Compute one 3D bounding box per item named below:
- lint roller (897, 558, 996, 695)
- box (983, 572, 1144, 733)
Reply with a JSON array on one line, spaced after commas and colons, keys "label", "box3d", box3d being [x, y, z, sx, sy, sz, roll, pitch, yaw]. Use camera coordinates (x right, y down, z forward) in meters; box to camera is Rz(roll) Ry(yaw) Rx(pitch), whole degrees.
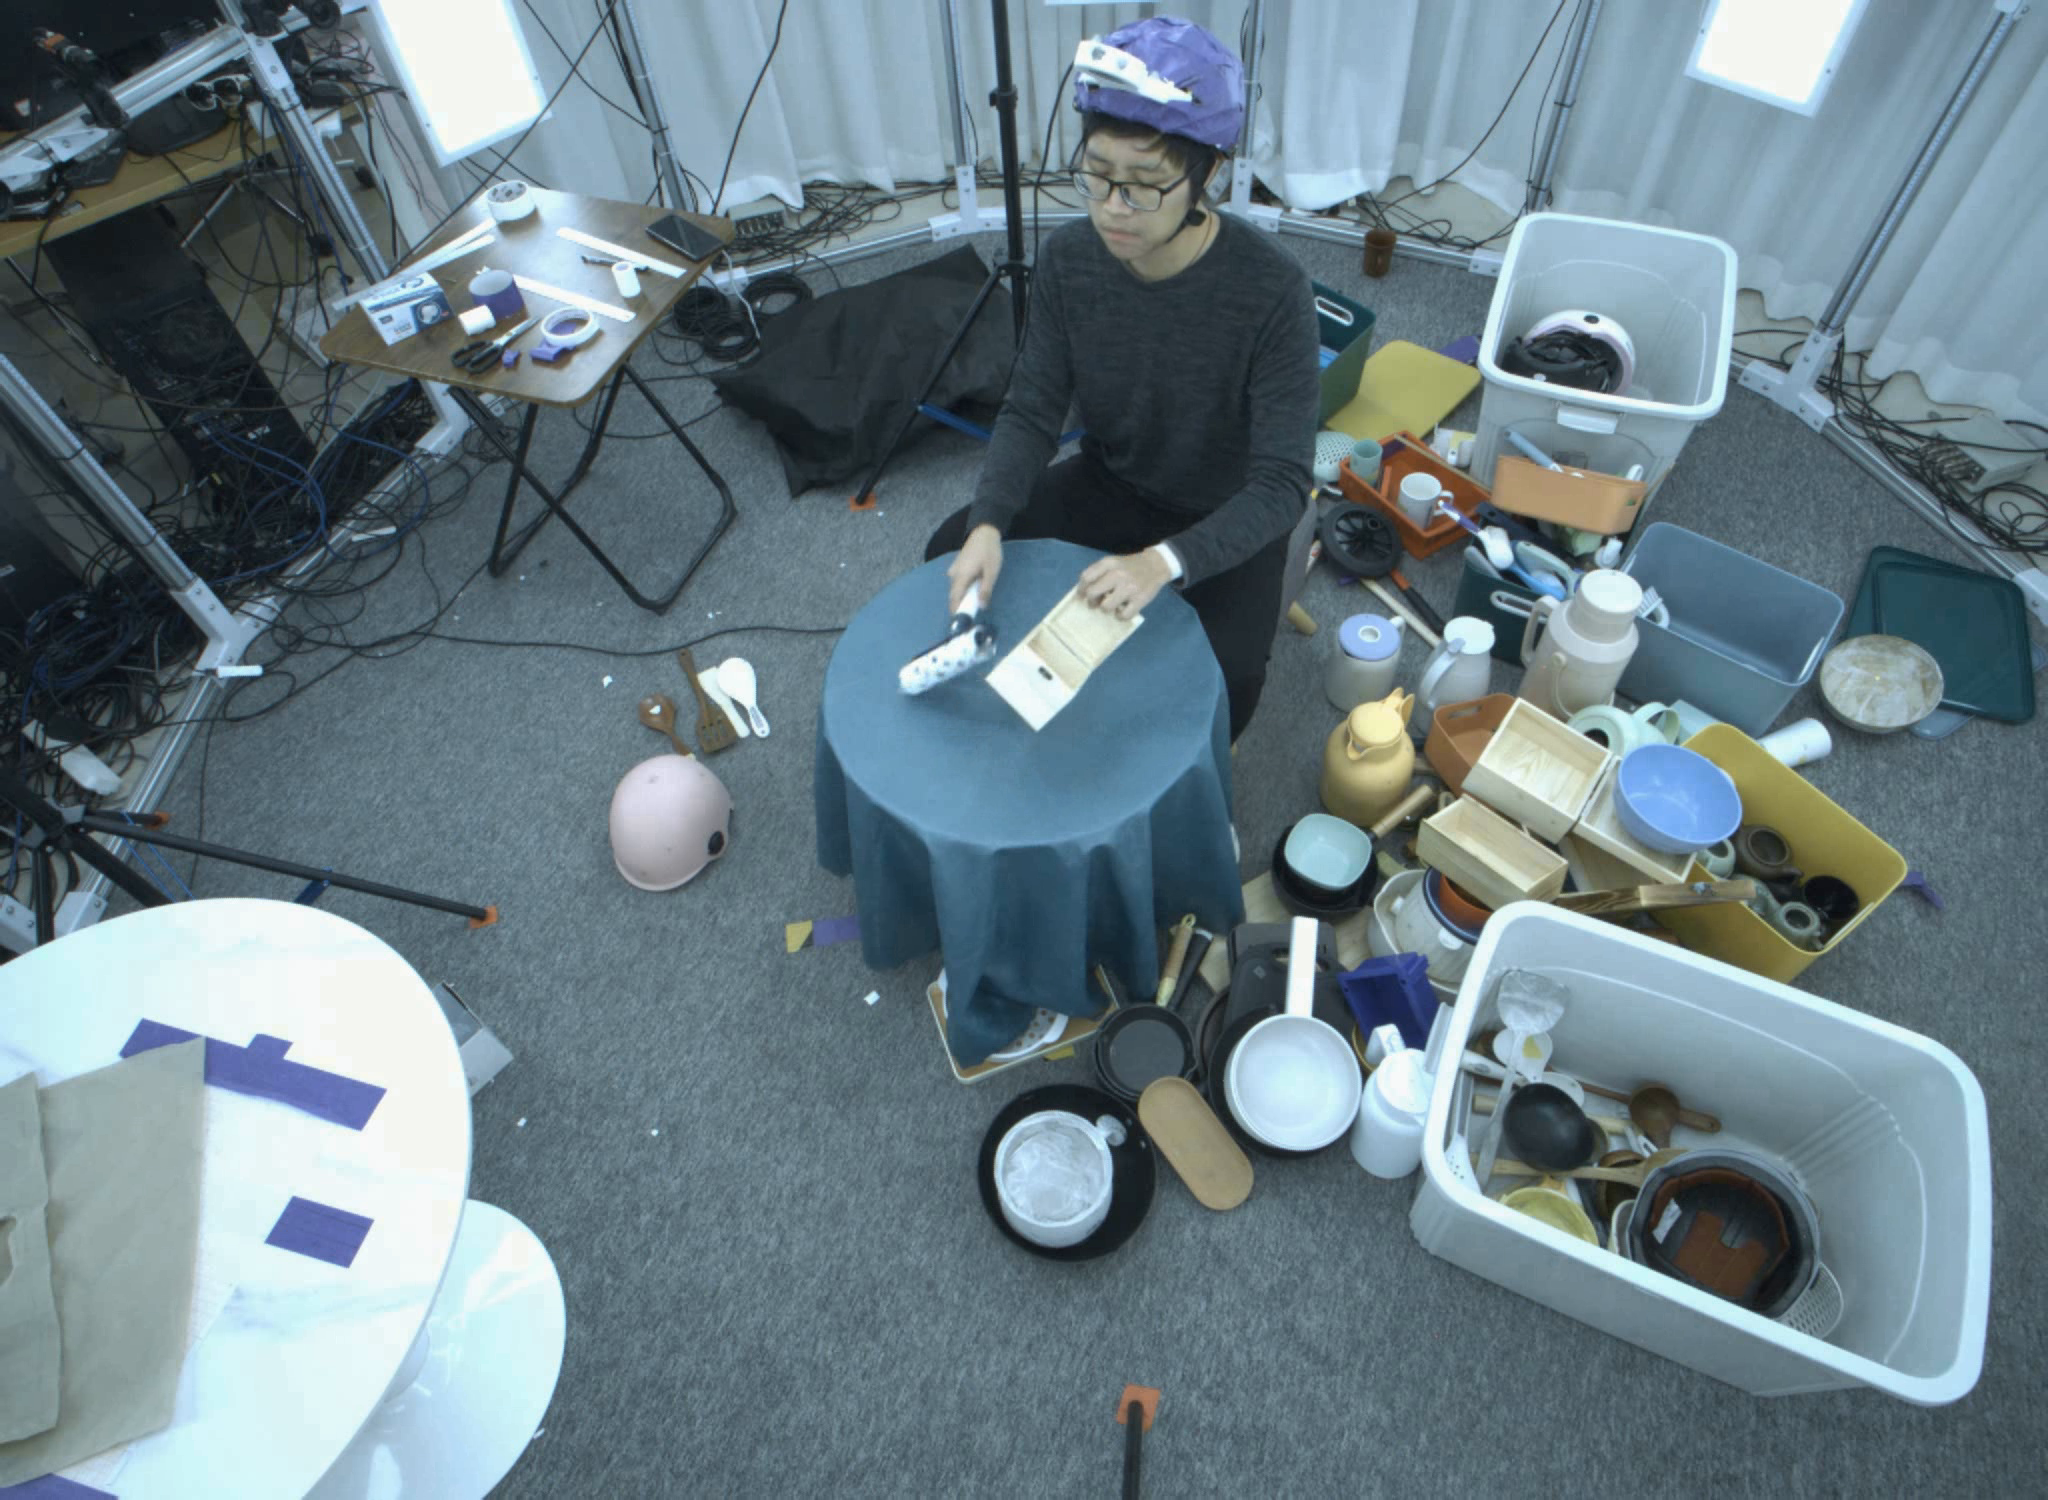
[{"label": "lint roller", "box3d": [-0.095, -0.203, 1.843, 0.173, 0.051, 0.246, -20, 42, 39]}, {"label": "box", "box3d": [0.055, -0.135, 1.676, 0.103, 0.183, 0.134, 45, 27, -5]}]
